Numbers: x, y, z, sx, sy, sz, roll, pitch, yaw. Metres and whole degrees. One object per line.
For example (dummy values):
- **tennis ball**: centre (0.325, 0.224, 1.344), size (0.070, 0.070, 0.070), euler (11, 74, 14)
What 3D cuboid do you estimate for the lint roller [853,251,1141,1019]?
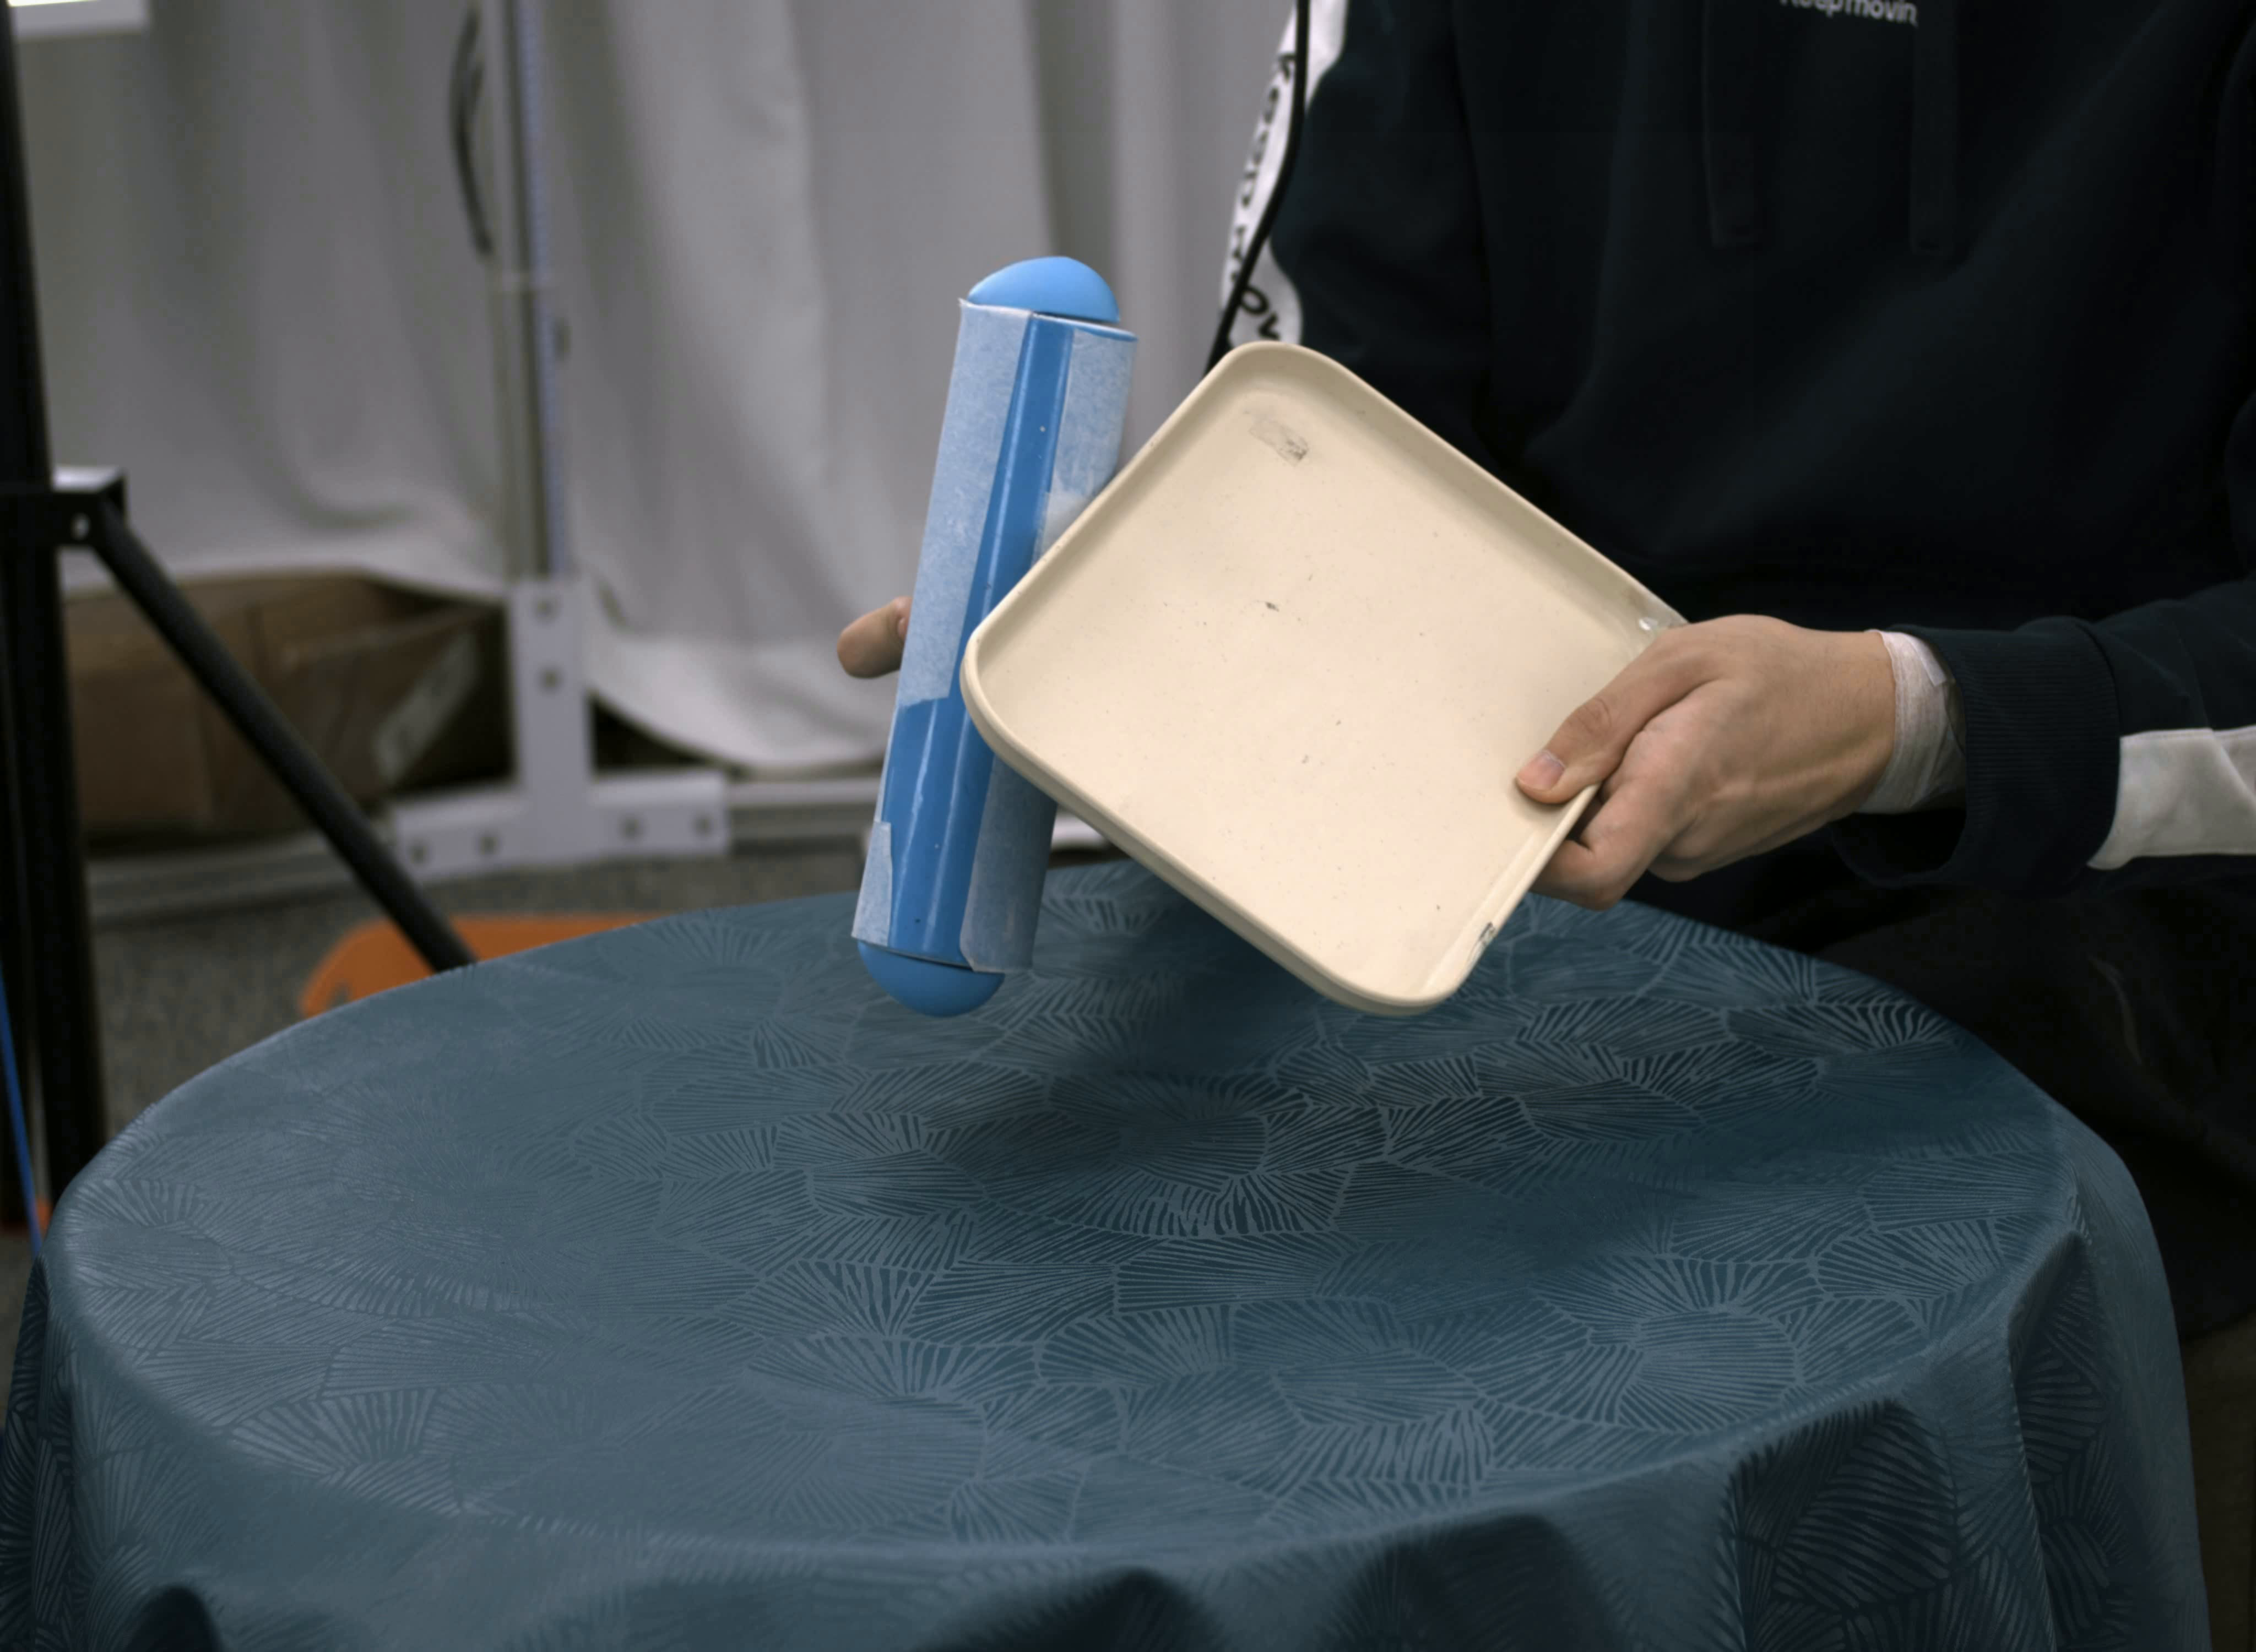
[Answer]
- **lint roller**: centre (-0.028, -0.054, 1.636), size (0.068, 0.230, 0.178), euler (10, 0, 12)

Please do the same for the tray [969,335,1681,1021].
- **tray**: centre (0.060, -0.045, 1.556), size (0.171, 0.017, 0.237), euler (36, 41, 4)
